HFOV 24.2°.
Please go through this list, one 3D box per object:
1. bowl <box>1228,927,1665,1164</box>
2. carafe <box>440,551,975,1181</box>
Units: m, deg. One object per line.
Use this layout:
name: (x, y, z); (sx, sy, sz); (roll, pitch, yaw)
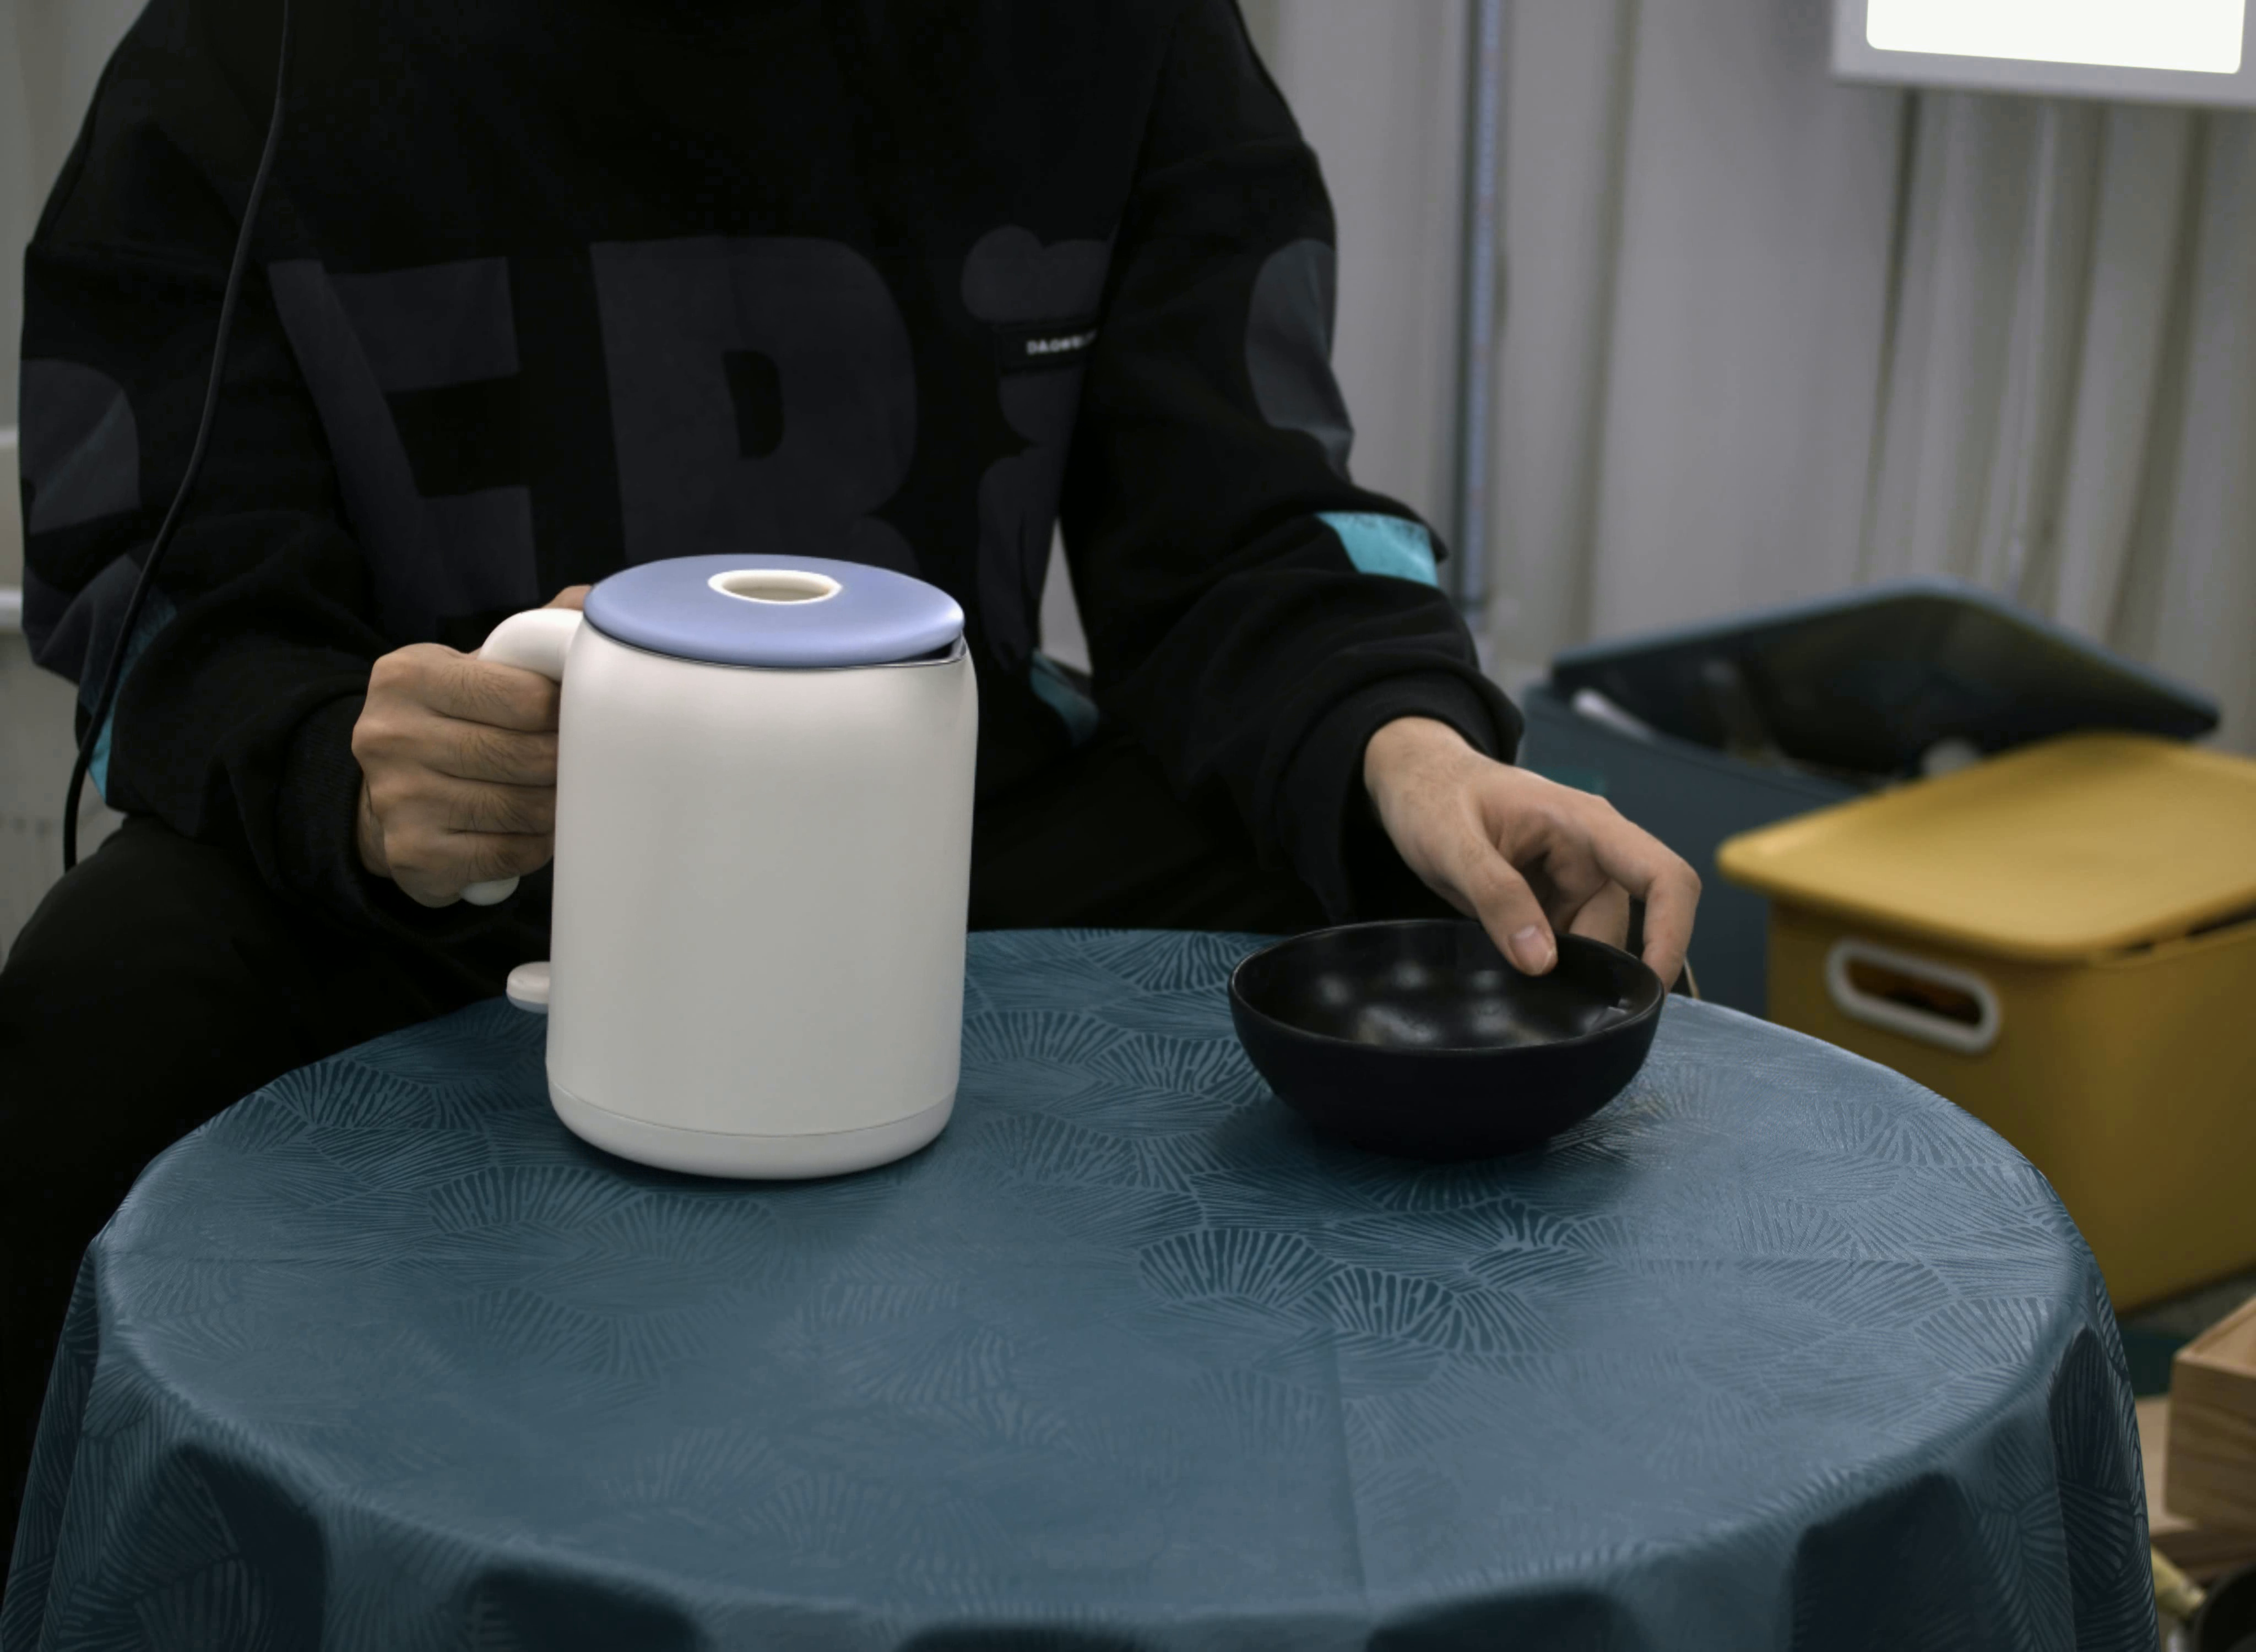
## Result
bowl: (0.101, 0.074, 1.673); (0.139, 0.050, 0.139); (-1, 14, 1)
carafe: (-0.136, 0.008, 1.658); (0.189, 0.184, 0.132); (9, 16, 27)
